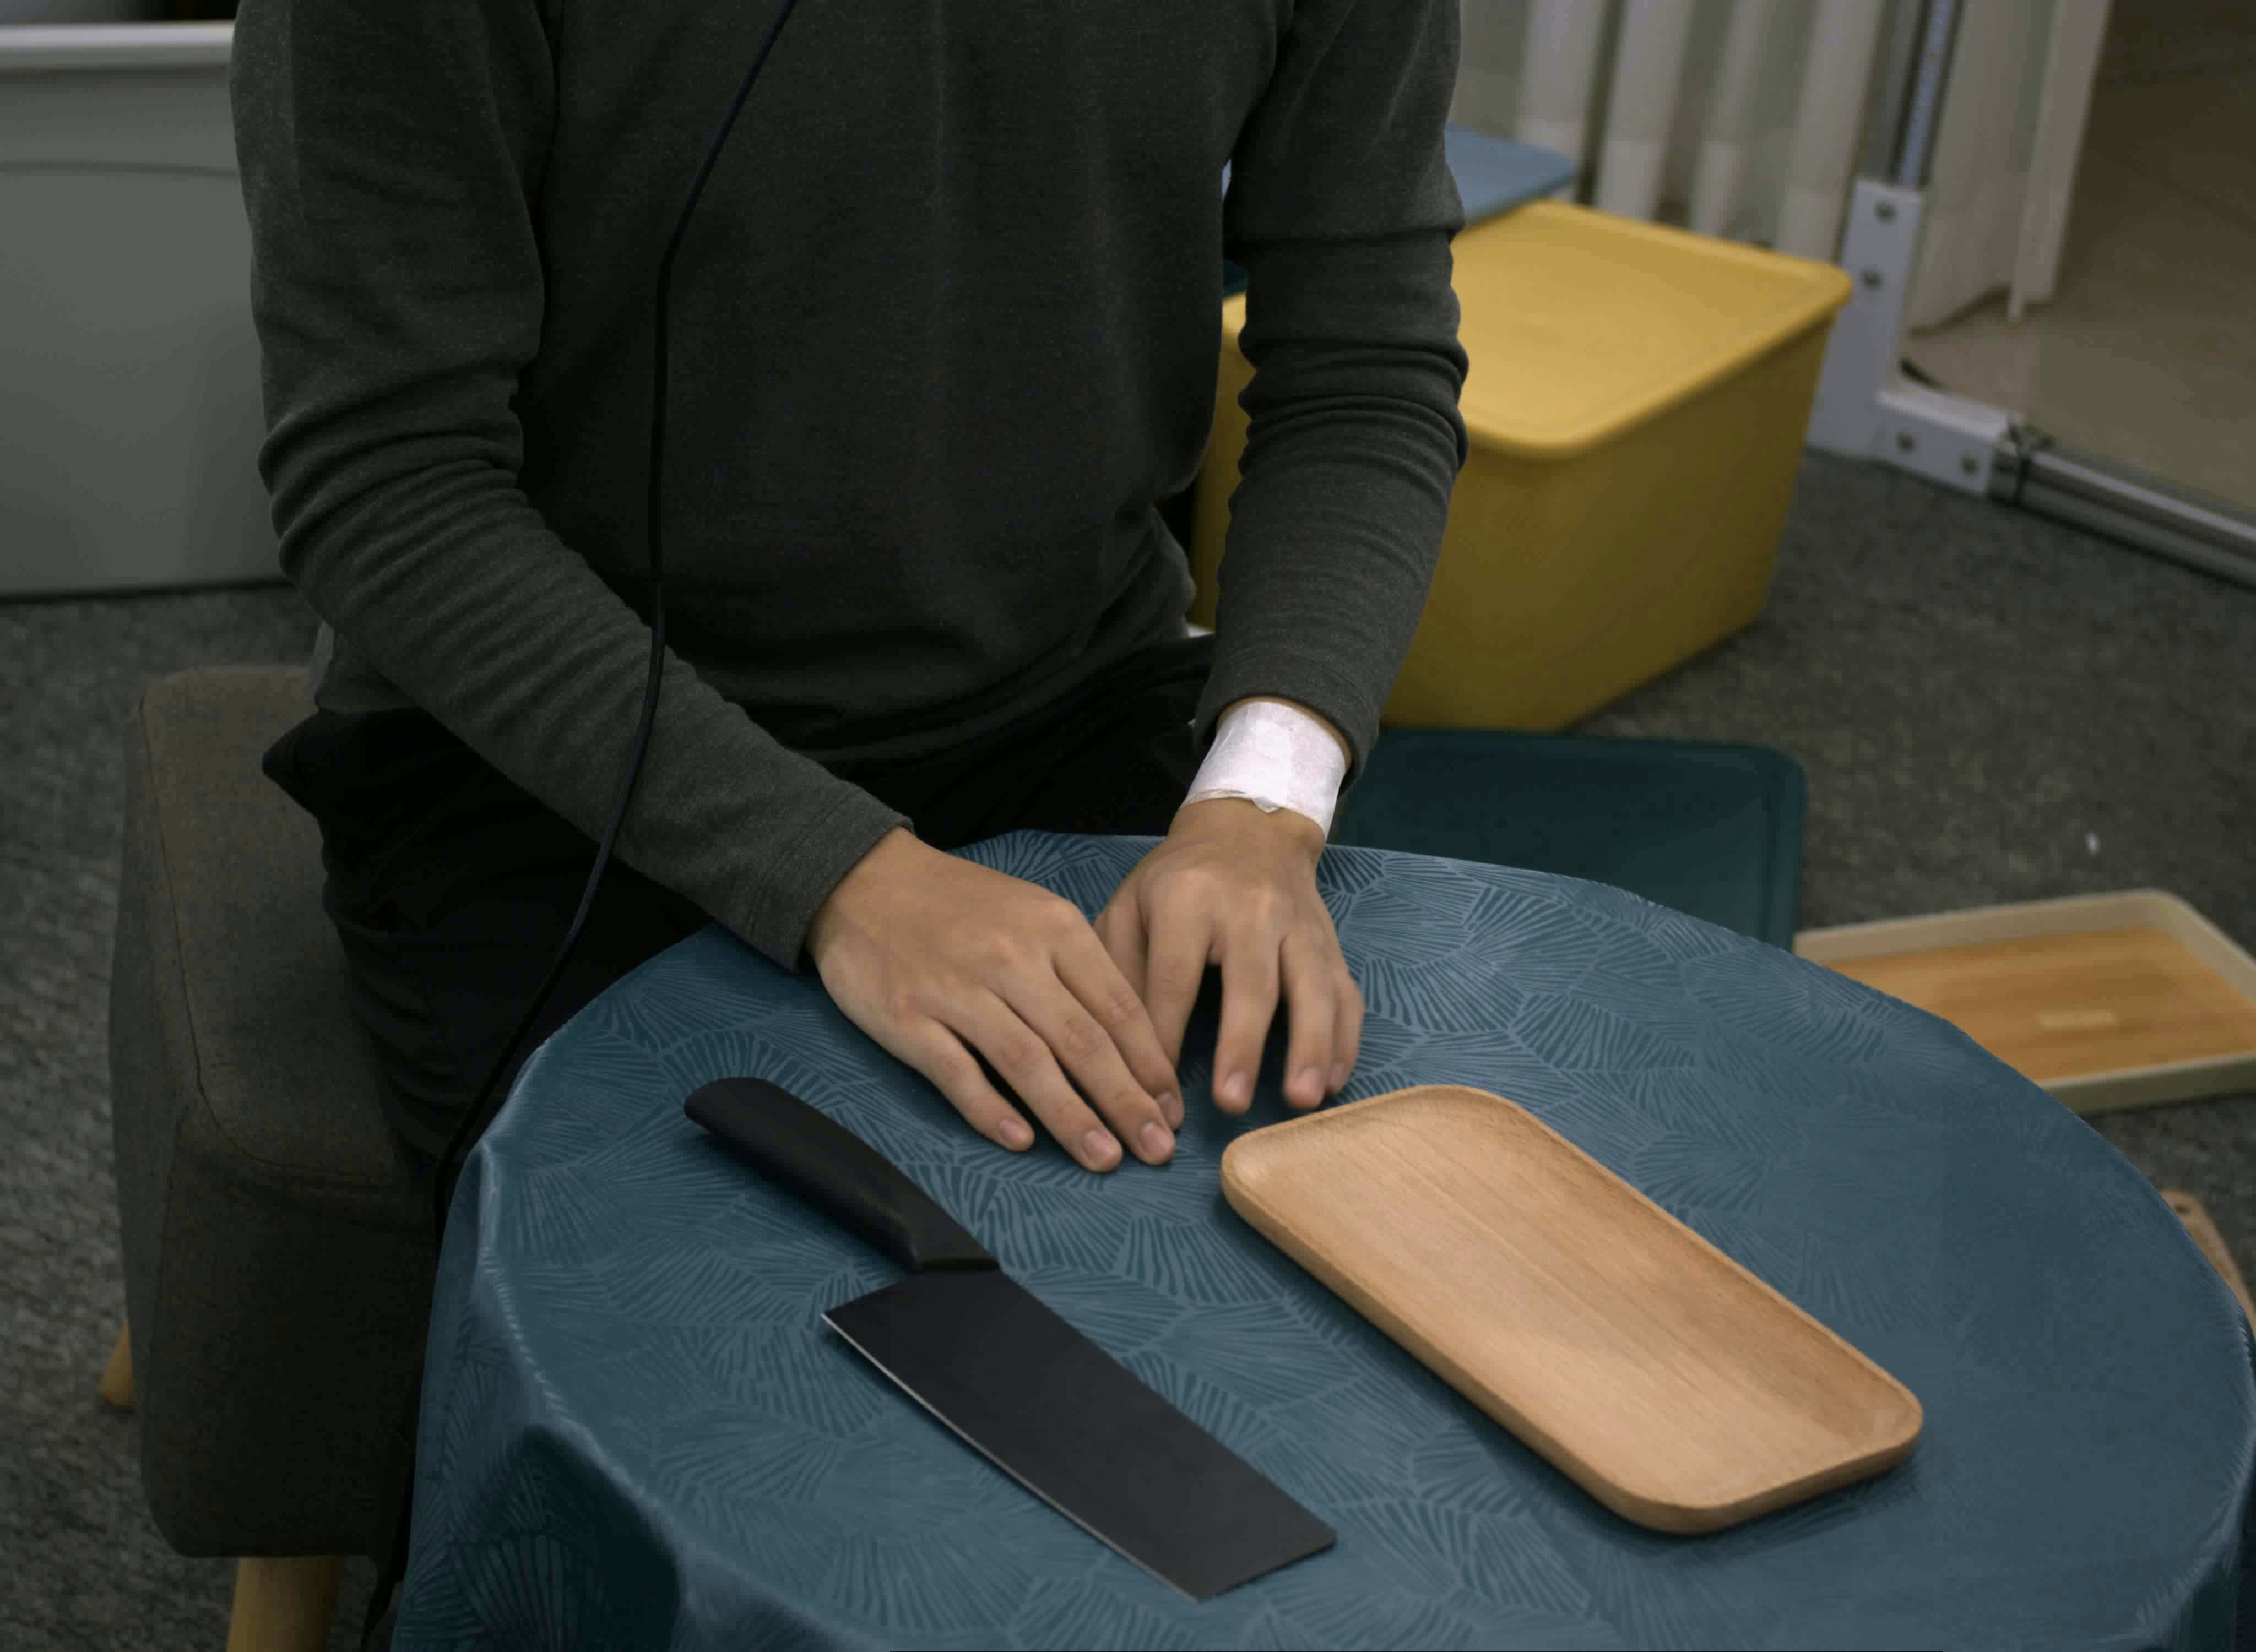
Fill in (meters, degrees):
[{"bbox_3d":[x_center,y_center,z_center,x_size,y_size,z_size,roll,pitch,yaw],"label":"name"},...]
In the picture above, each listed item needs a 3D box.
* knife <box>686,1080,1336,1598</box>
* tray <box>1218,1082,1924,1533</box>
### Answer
[{"bbox_3d":[-0.051,0.160,1.707,0.080,0.021,0.305,-14,35,-33],"label":"knife"},{"bbox_3d":[0.142,0.156,1.757,0.129,0.023,0.253,-10,30,-34],"label":"tray"}]
